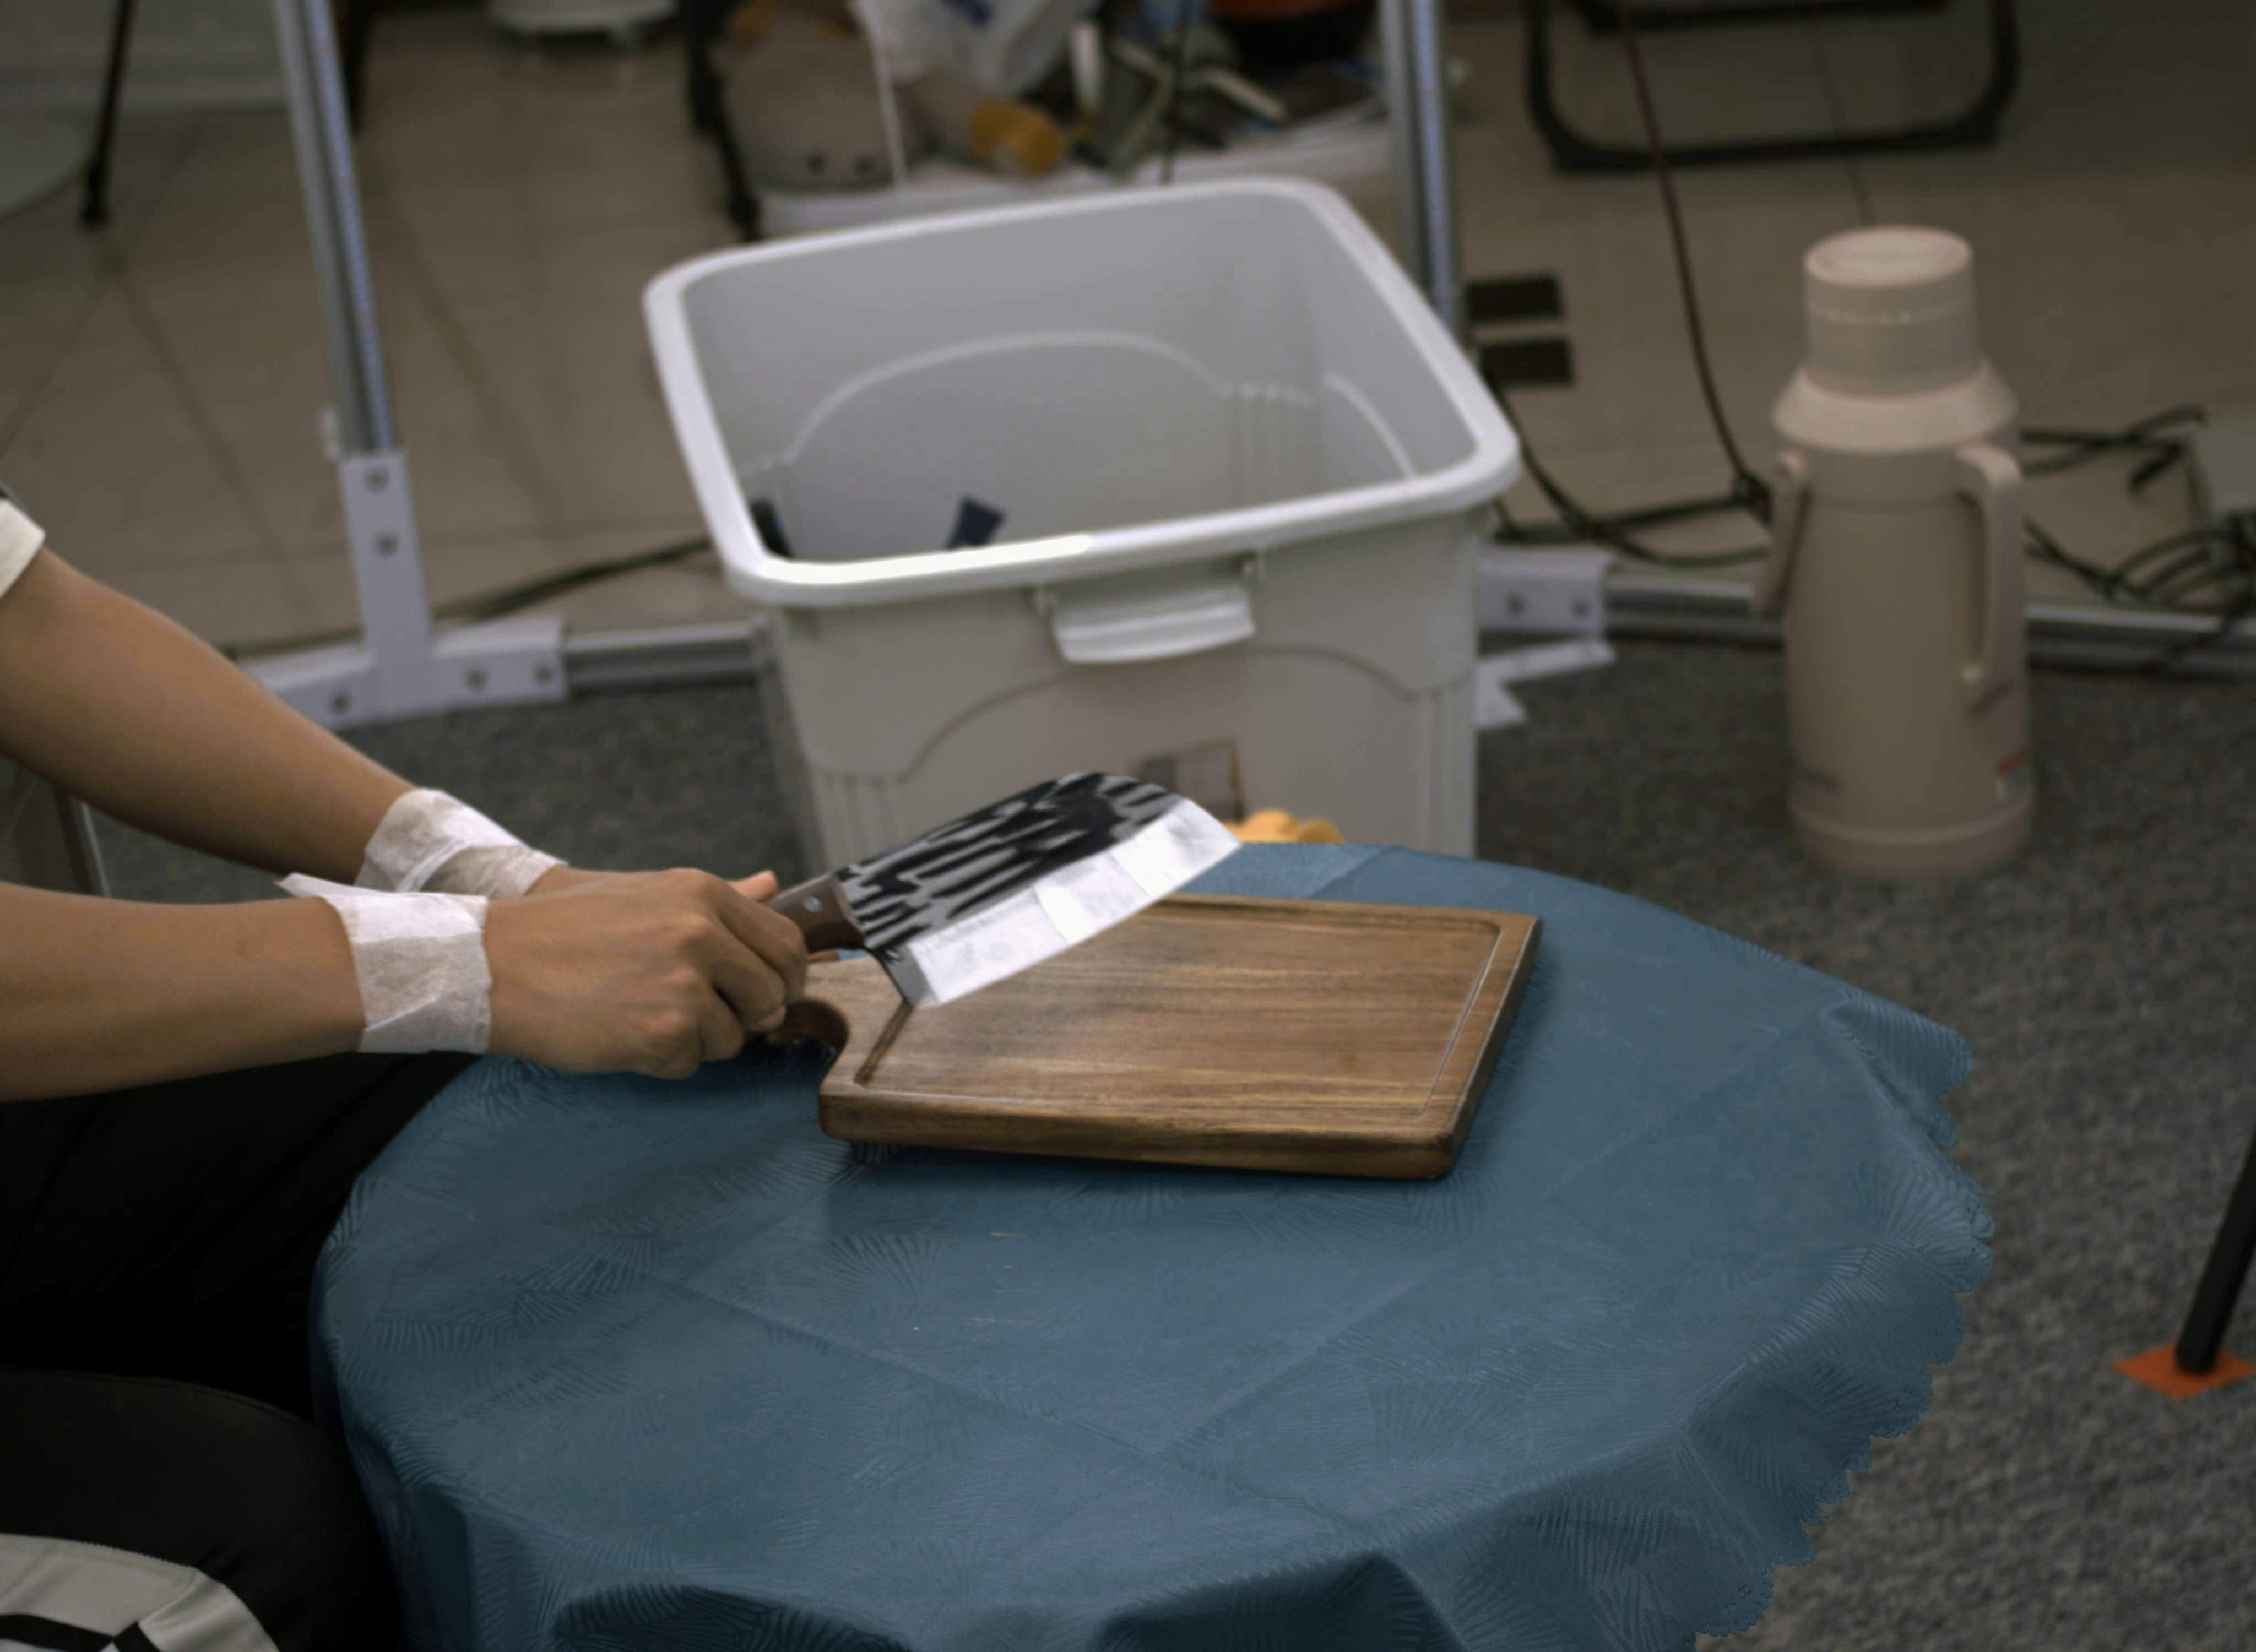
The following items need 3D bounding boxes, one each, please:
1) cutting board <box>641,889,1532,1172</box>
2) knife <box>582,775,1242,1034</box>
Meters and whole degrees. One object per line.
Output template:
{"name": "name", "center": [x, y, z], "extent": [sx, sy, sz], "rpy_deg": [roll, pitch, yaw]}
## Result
{"name": "cutting board", "center": [-0.026, 0.074, 2.252], "extent": [0.351, 0.023, 0.198], "rpy_deg": [3, 26, 14]}
{"name": "knife", "center": [-0.078, 0.036, 2.195], "extent": [0.297, 0.024, 0.067], "rpy_deg": [-22, 73, -35]}
